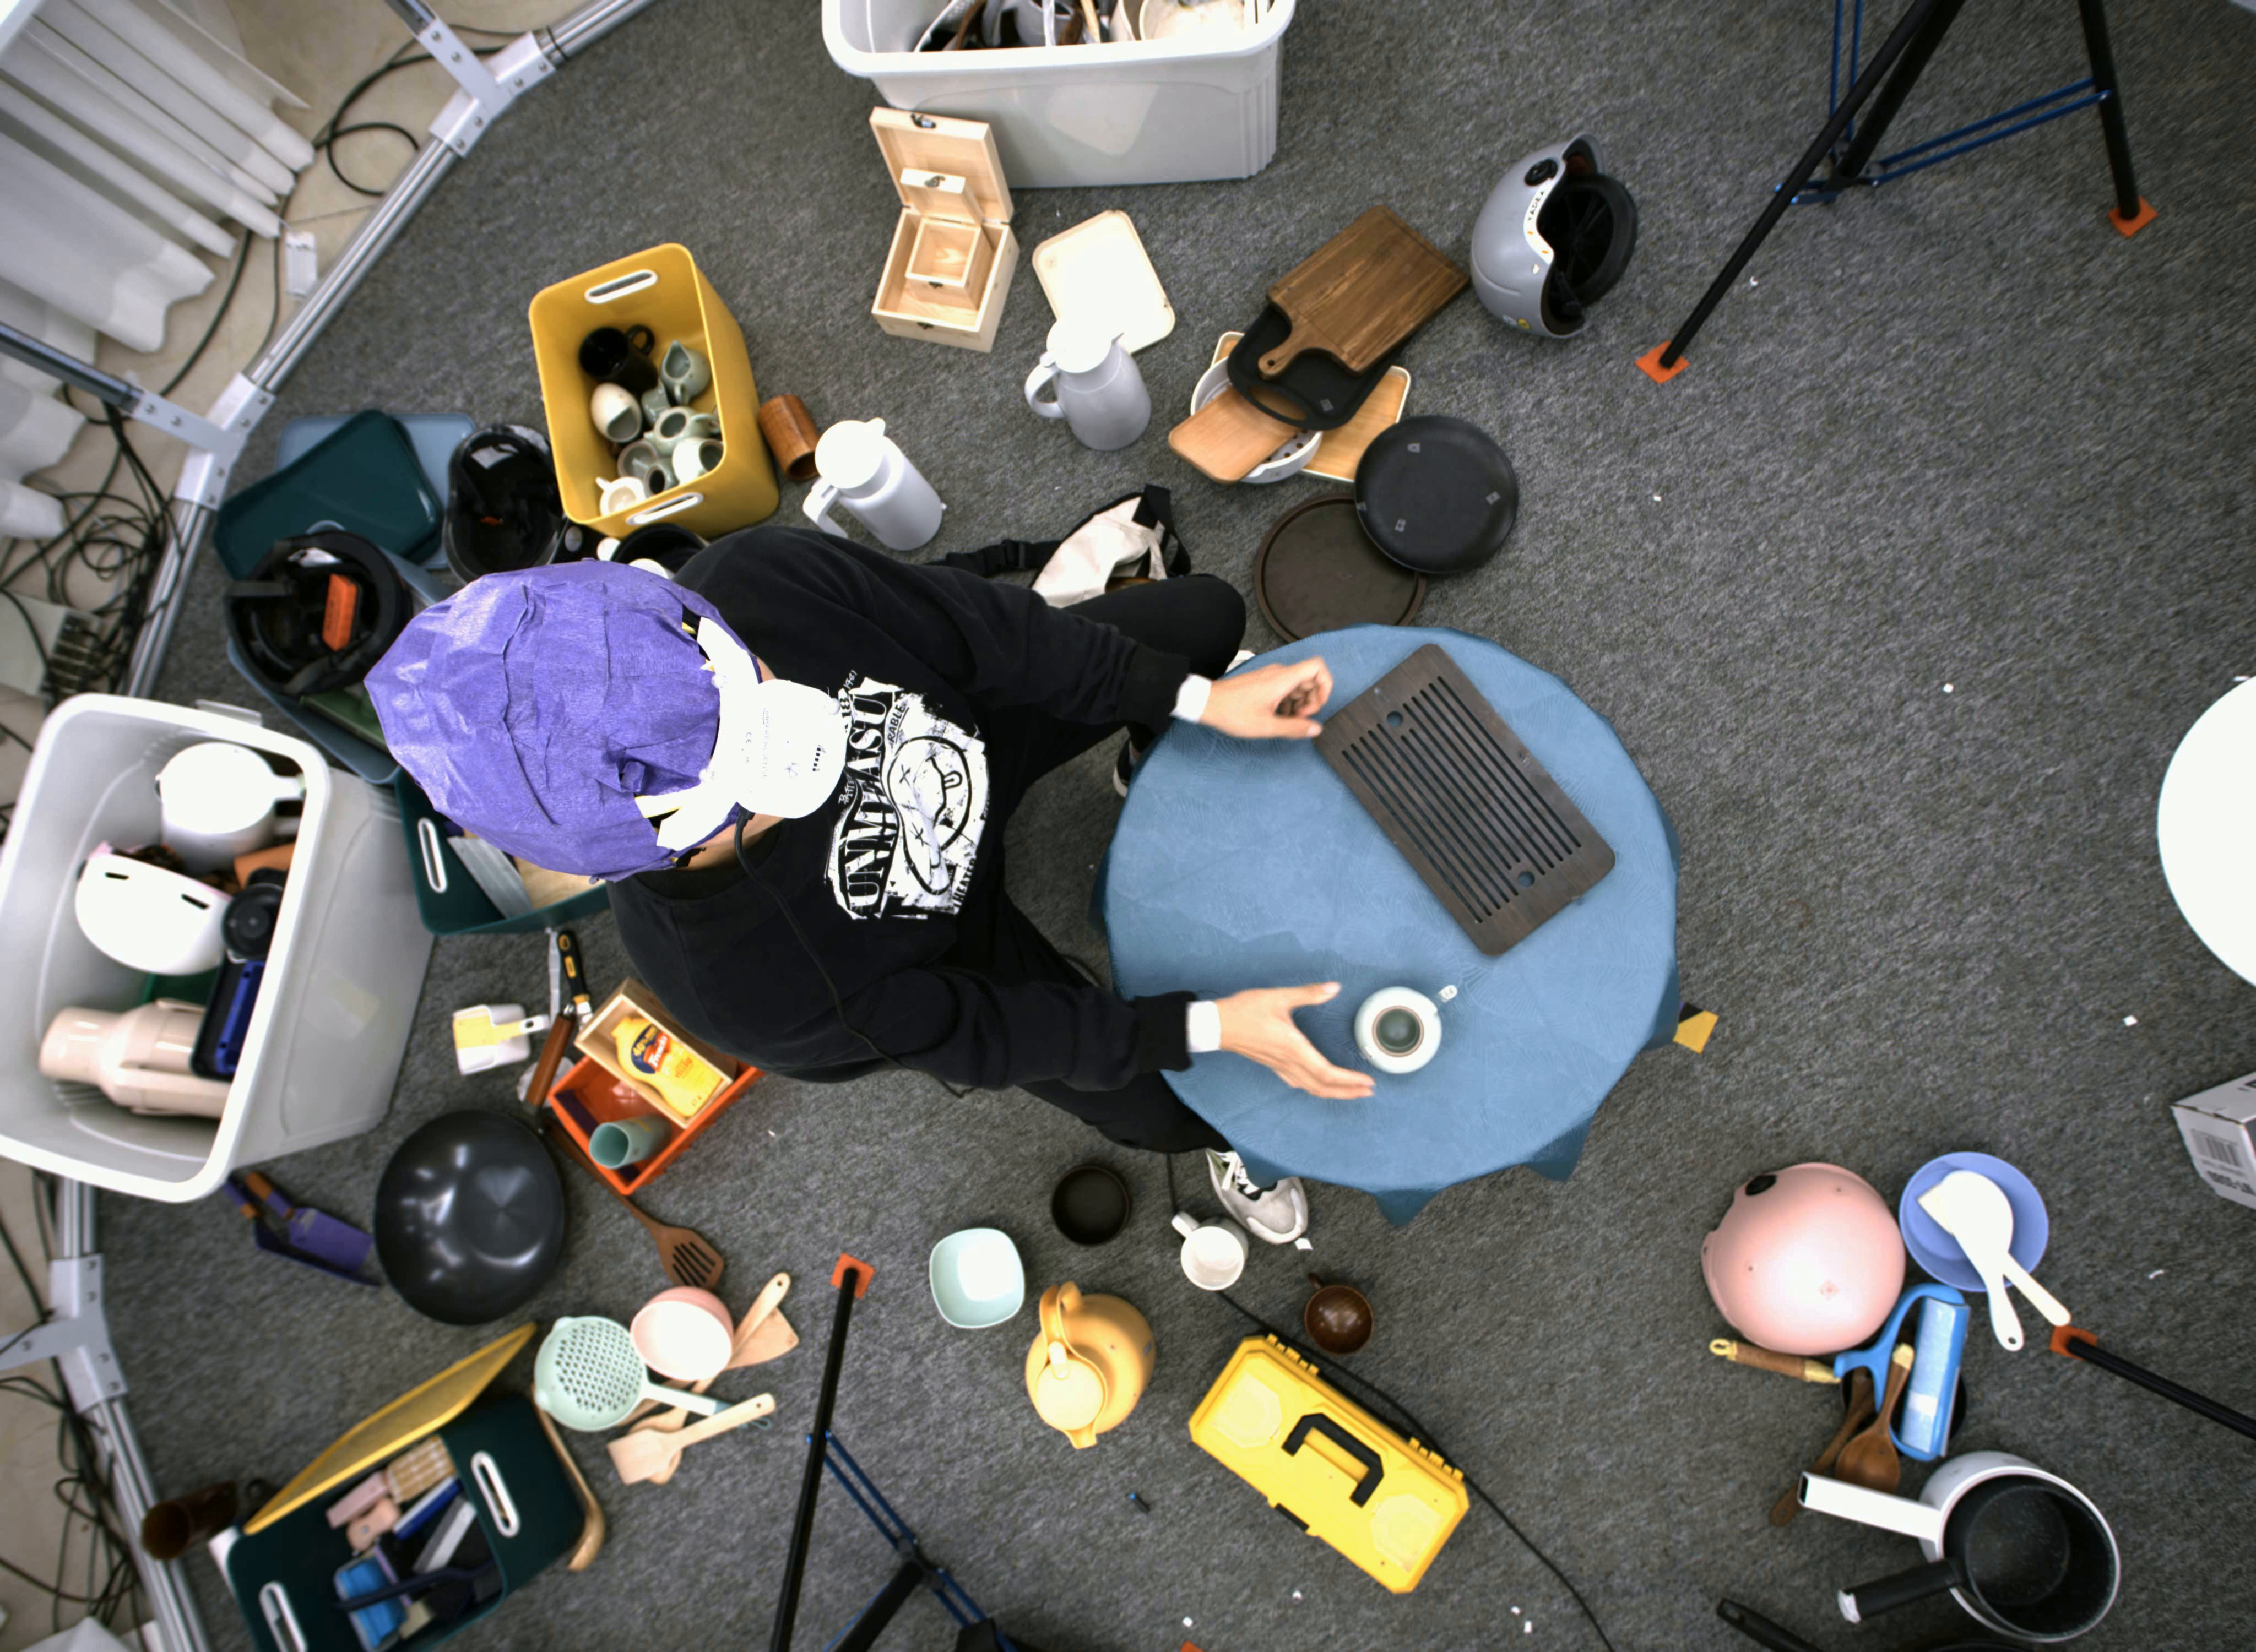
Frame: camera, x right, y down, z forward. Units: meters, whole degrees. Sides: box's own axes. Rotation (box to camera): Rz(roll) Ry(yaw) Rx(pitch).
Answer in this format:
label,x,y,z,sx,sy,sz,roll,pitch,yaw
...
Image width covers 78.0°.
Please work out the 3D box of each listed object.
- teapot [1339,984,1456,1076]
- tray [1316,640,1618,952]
label,x,y,z,sx,sy,sz,roll,pitch,yaw
teapot,0.276,0.206,1.417,0.144,0.075,0.088,-37,81,5
tray,0.353,-0.035,1.442,0.171,0.018,0.304,-38,81,7
